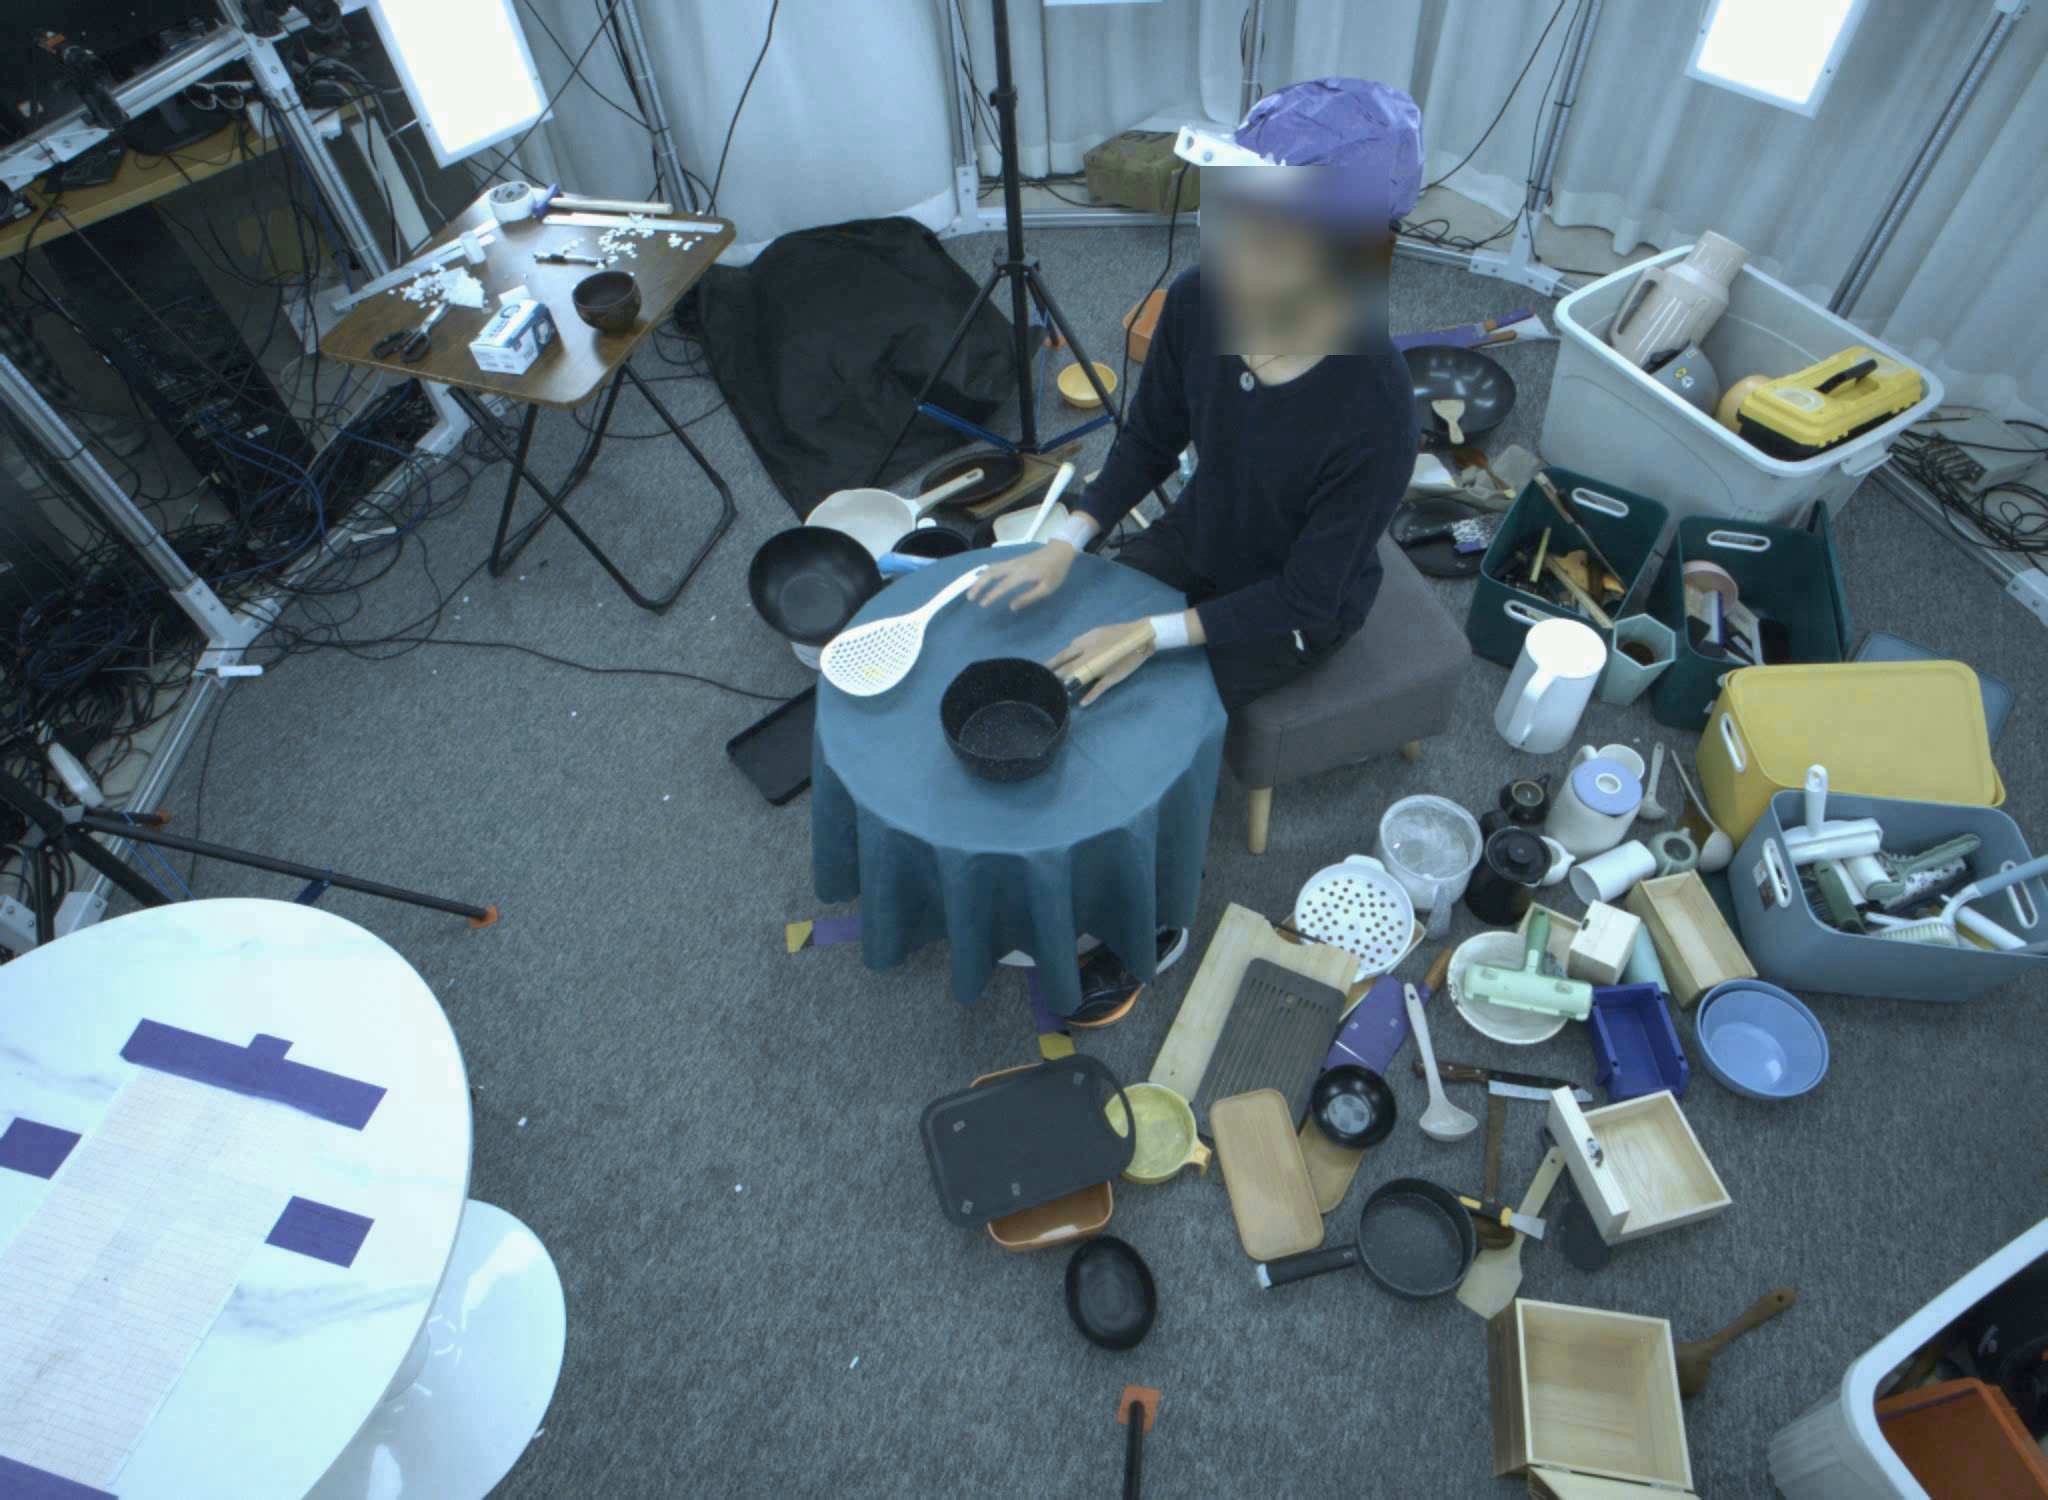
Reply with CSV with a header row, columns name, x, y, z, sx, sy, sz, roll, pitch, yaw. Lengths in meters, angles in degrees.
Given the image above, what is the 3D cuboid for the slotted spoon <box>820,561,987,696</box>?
name,x,y,z,sx,sy,sz,roll,pitch,yaw
slotted spoon,-0.169,-0.199,1.907,0.134,0.051,0.349,33,64,21

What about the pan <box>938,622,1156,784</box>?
name,x,y,z,sx,sy,sz,roll,pitch,yaw
pan,0.042,-0.079,1.775,0.345,0.109,0.203,-28,57,-15
